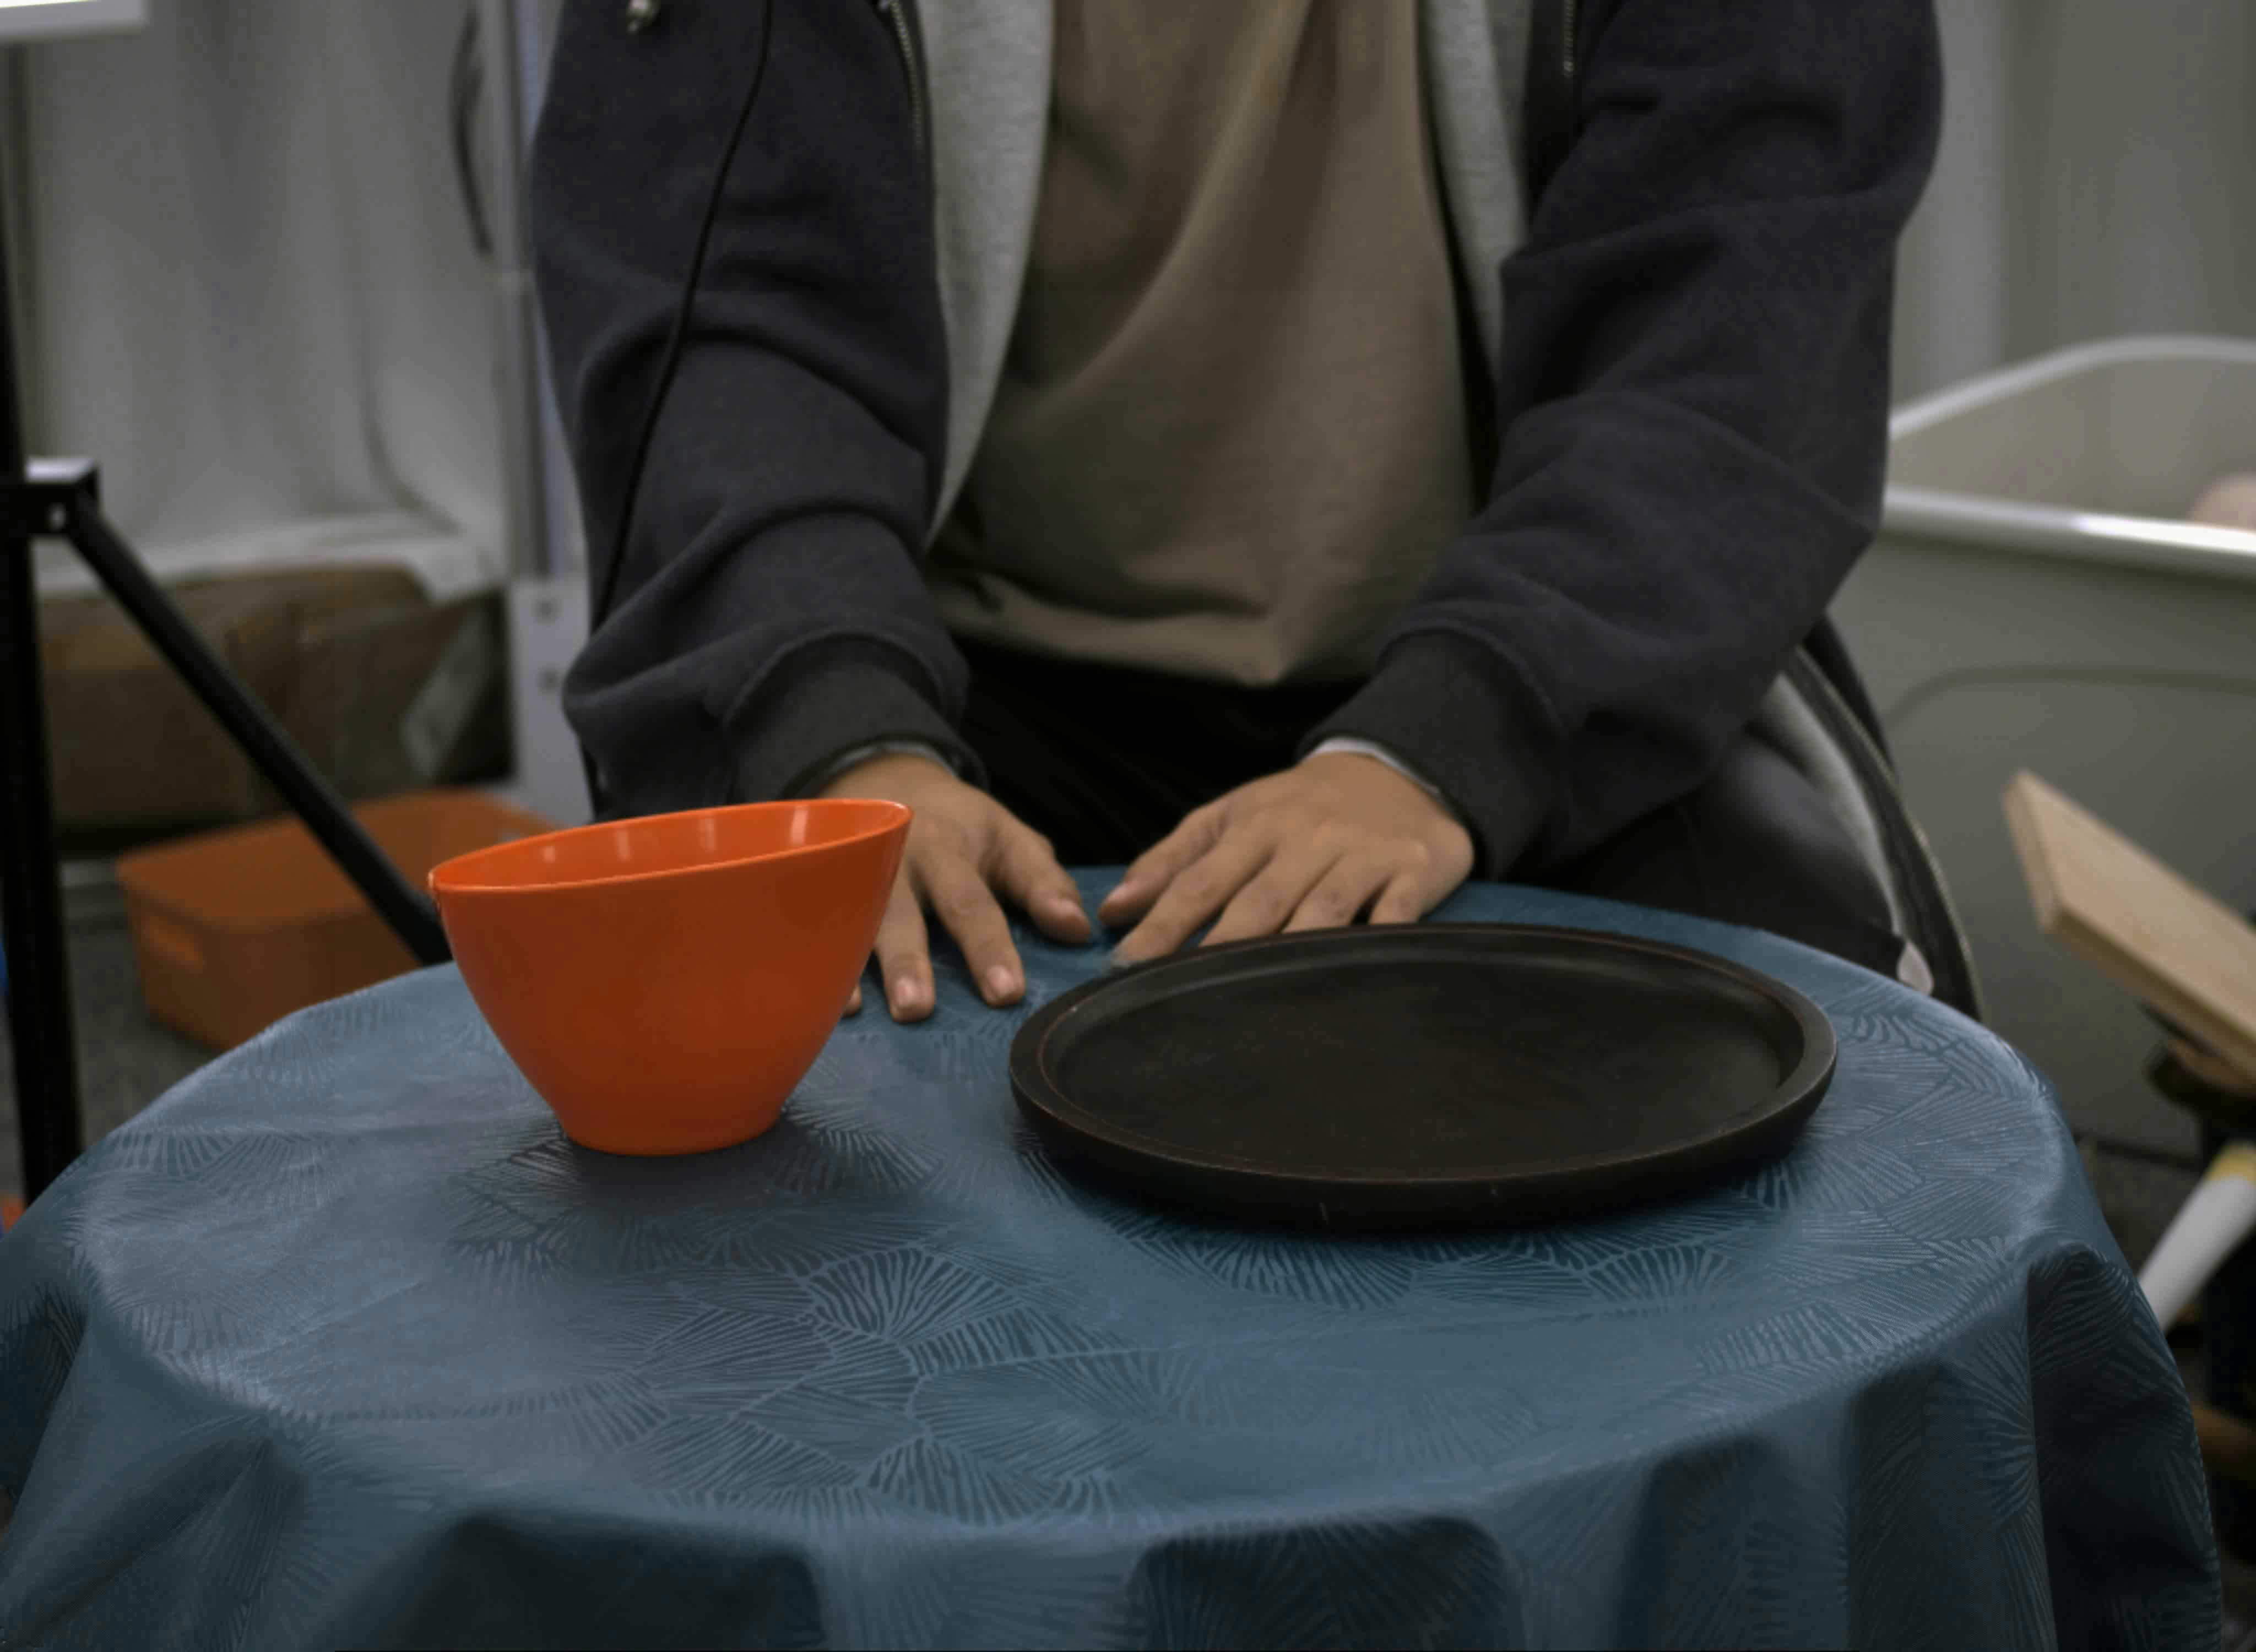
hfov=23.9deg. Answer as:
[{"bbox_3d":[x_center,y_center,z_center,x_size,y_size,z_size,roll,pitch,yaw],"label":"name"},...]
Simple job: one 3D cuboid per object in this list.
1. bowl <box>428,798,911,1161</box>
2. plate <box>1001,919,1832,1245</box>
[{"bbox_3d":[-0.137,0.045,1.621,0.147,0.104,0.149,-3,16,0],"label":"bowl"},{"bbox_3d":[0.088,0.076,1.618,0.253,0.029,0.256,-4,16,0],"label":"plate"}]
